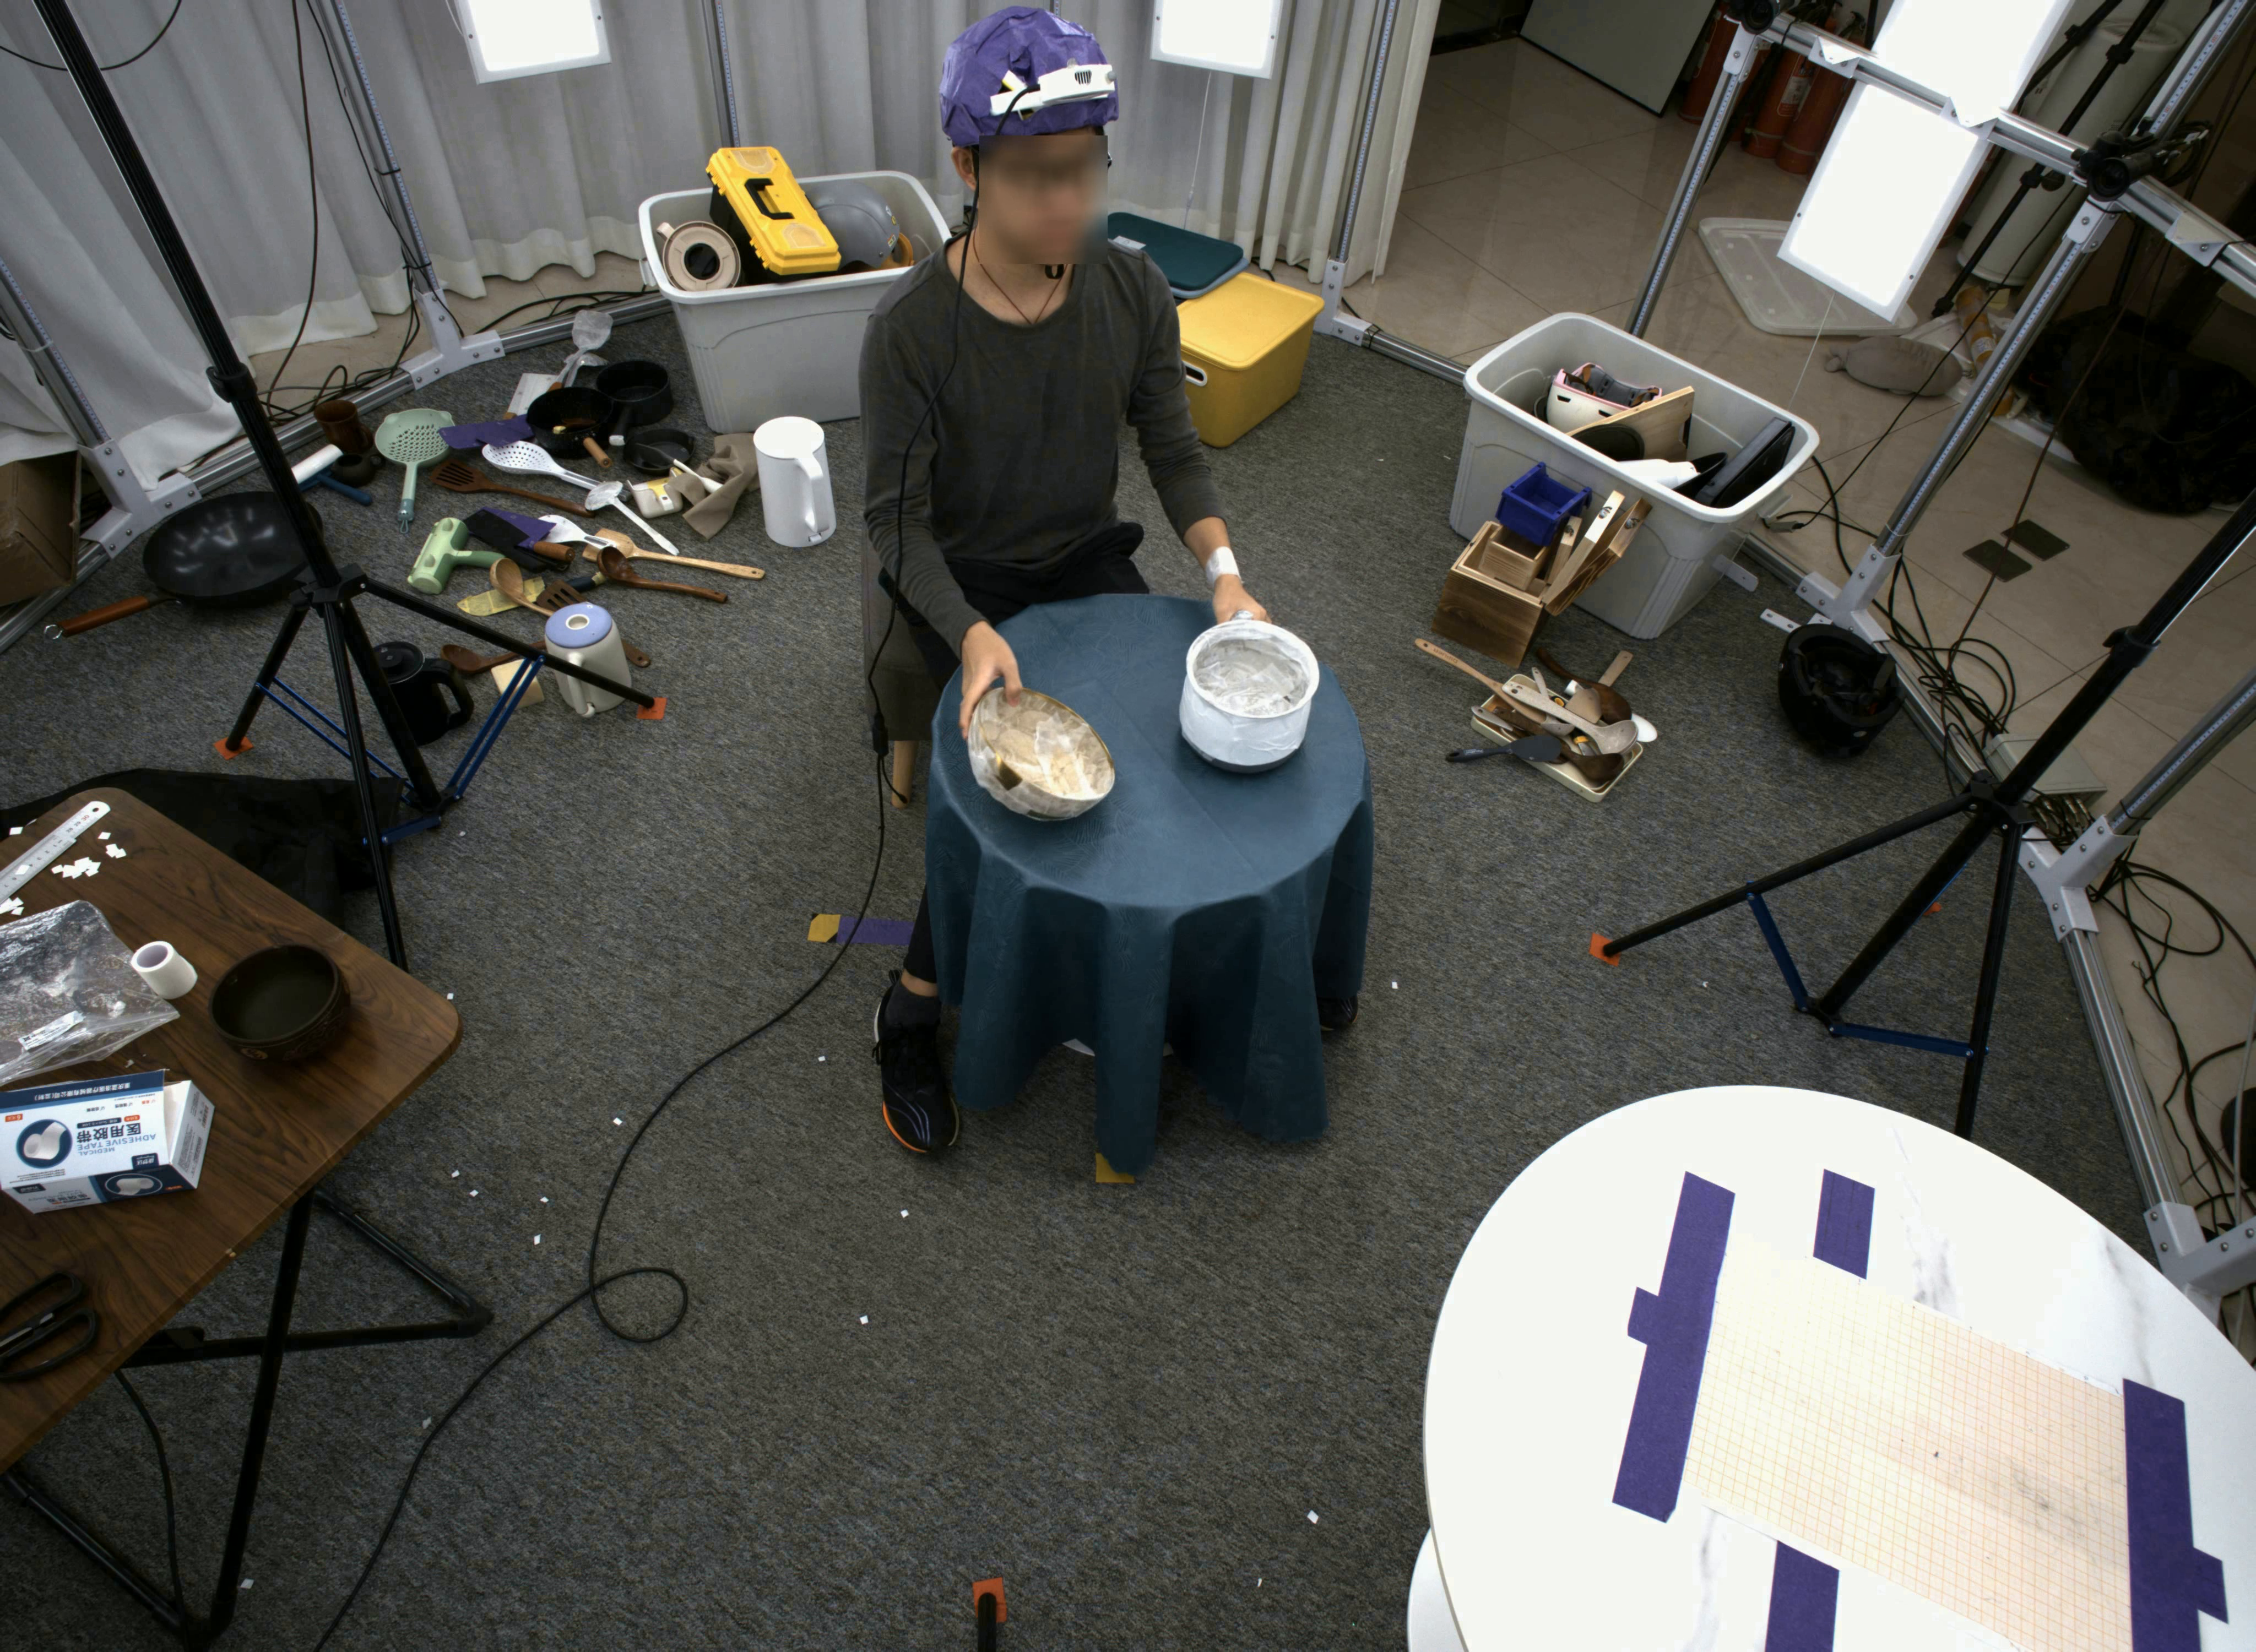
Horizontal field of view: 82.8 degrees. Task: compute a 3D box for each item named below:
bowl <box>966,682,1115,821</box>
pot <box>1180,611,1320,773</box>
[{"bbox_3d":[-0.126,-0.080,1.653,0.213,0.093,0.220,22,37,-18],"label":"bowl"},{"bbox_3d":[0.159,-0.193,1.753,0.178,0.133,0.239,0,52,-4],"label":"pot"}]
